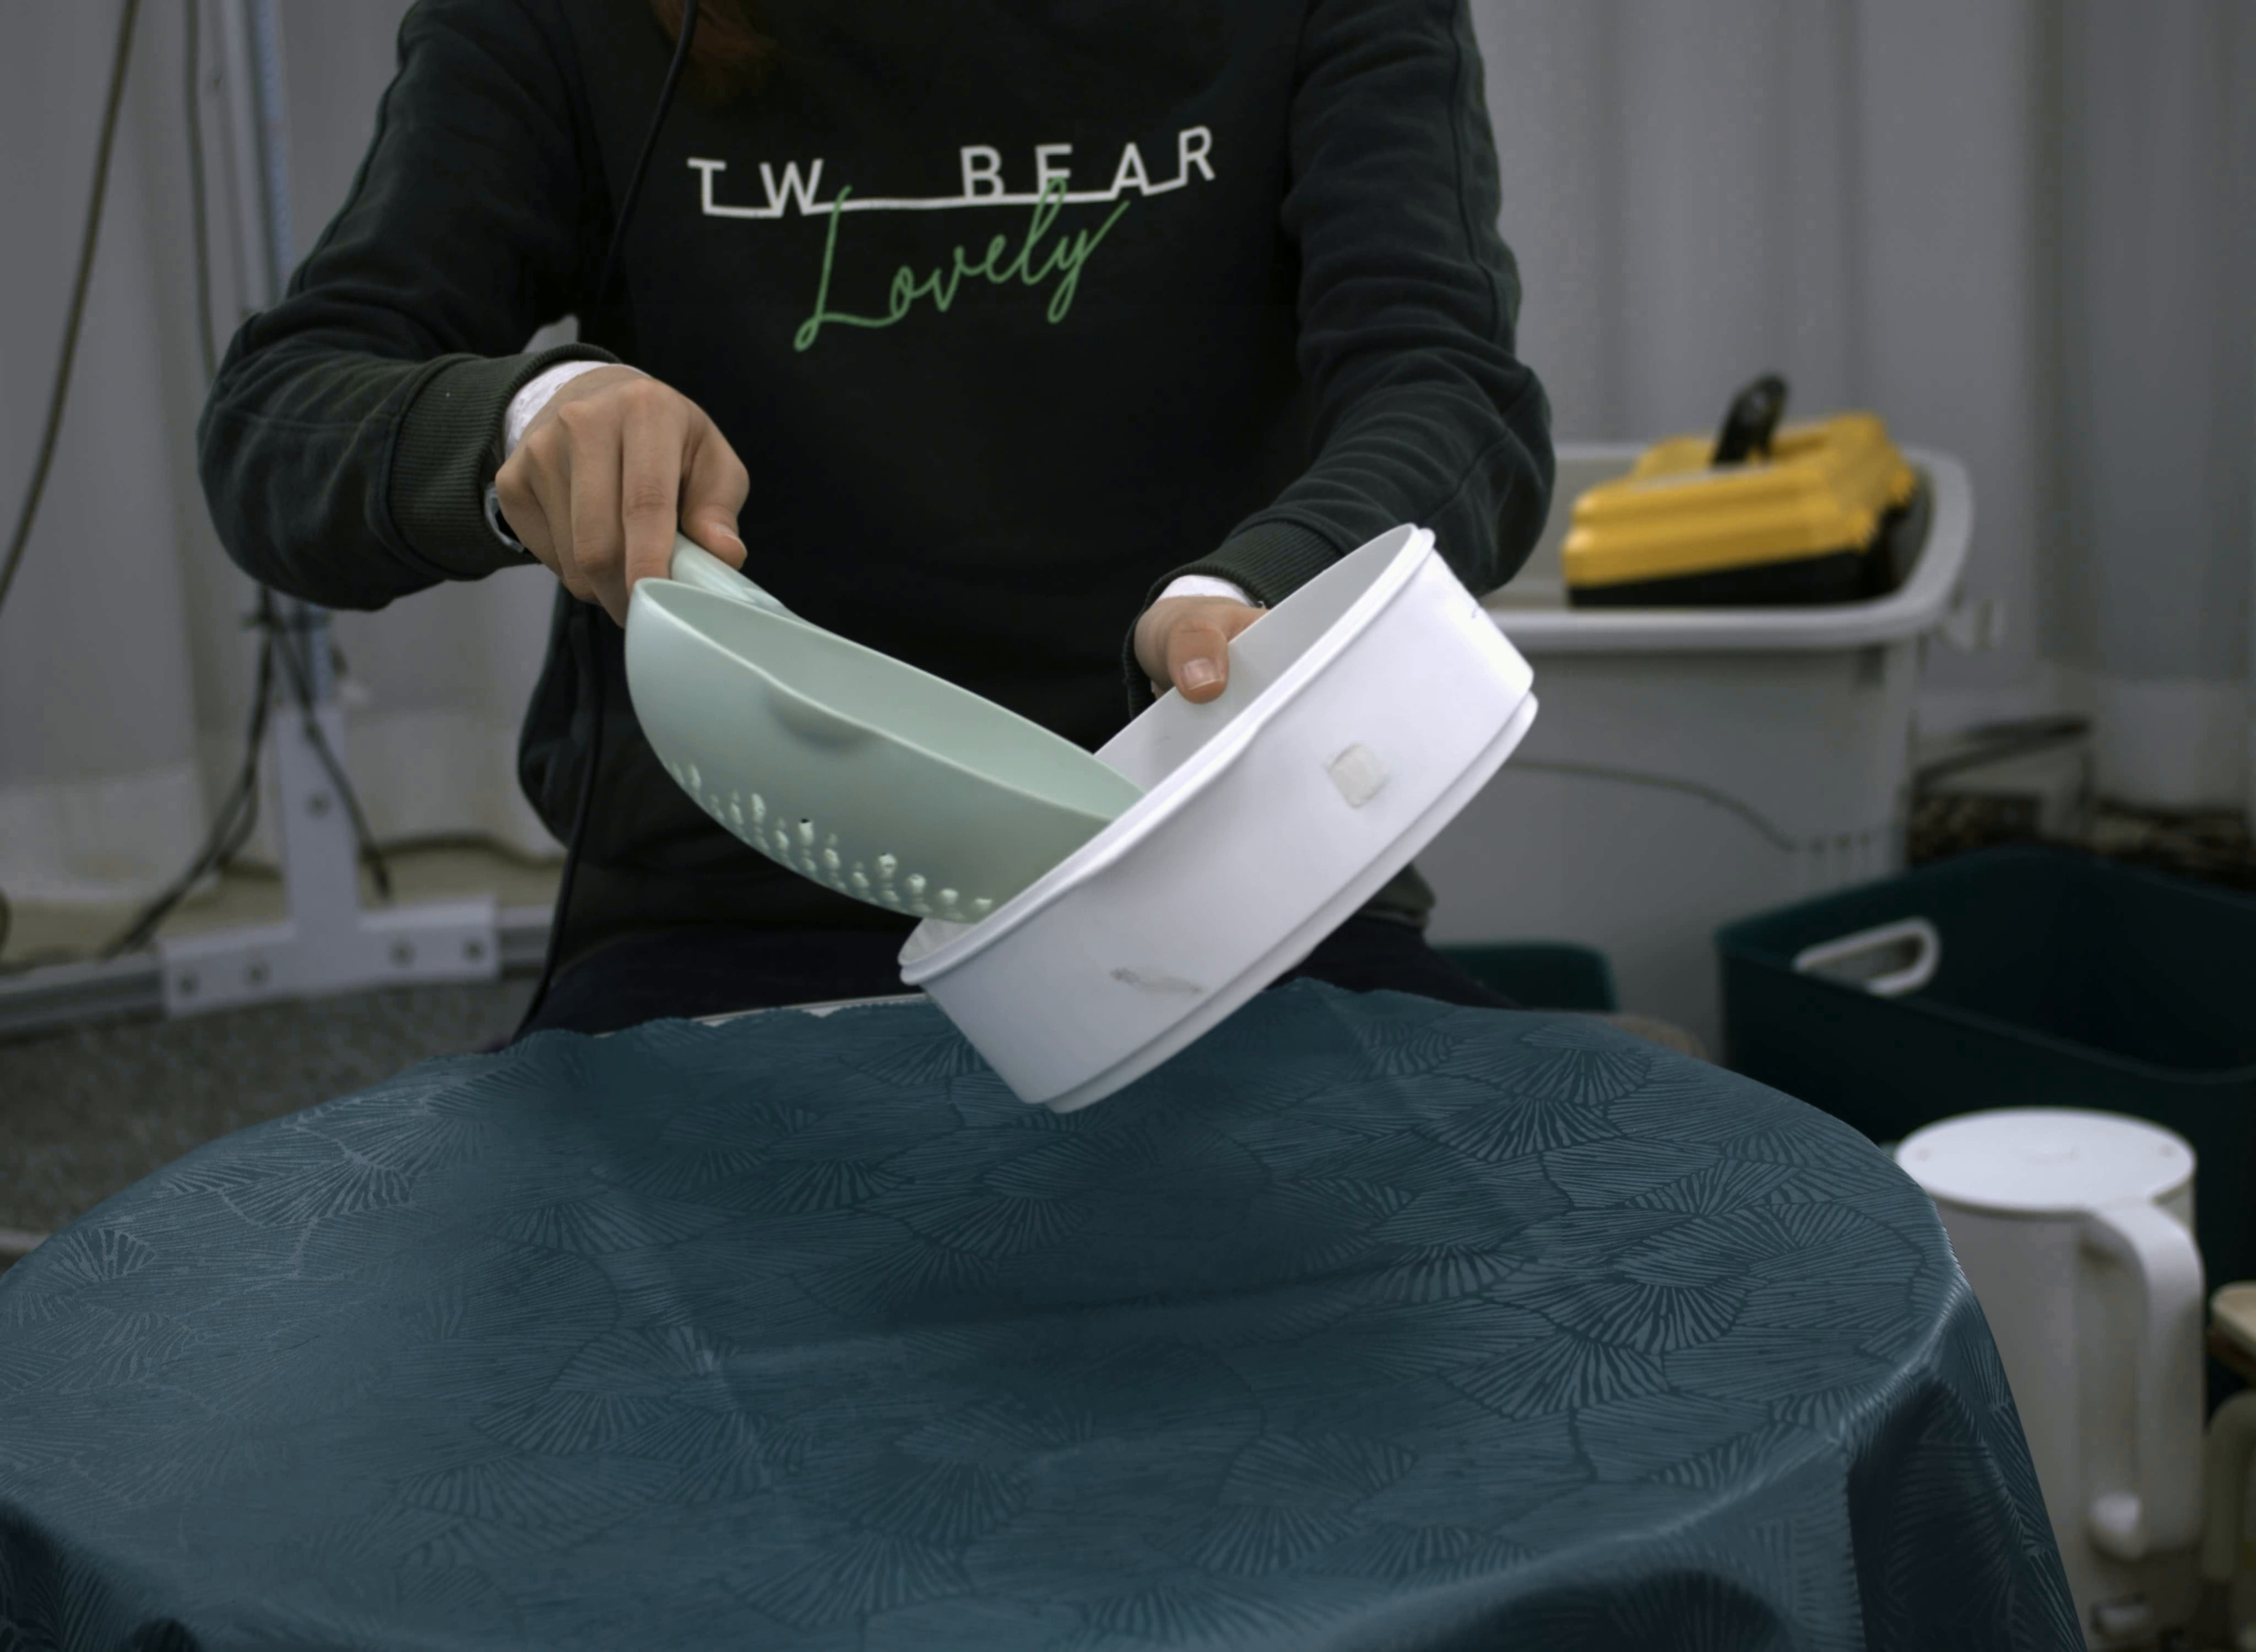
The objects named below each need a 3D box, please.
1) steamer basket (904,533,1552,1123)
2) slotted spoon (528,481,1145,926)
[{"bbox_3d":[0.032,0.002,1.575,0.201,0.069,0.231,-39,6,6],"label":"steamer basket"},{"bbox_3d":[-0.112,-0.054,1.657,0.167,0.075,0.363,21,15,-31],"label":"slotted spoon"}]
